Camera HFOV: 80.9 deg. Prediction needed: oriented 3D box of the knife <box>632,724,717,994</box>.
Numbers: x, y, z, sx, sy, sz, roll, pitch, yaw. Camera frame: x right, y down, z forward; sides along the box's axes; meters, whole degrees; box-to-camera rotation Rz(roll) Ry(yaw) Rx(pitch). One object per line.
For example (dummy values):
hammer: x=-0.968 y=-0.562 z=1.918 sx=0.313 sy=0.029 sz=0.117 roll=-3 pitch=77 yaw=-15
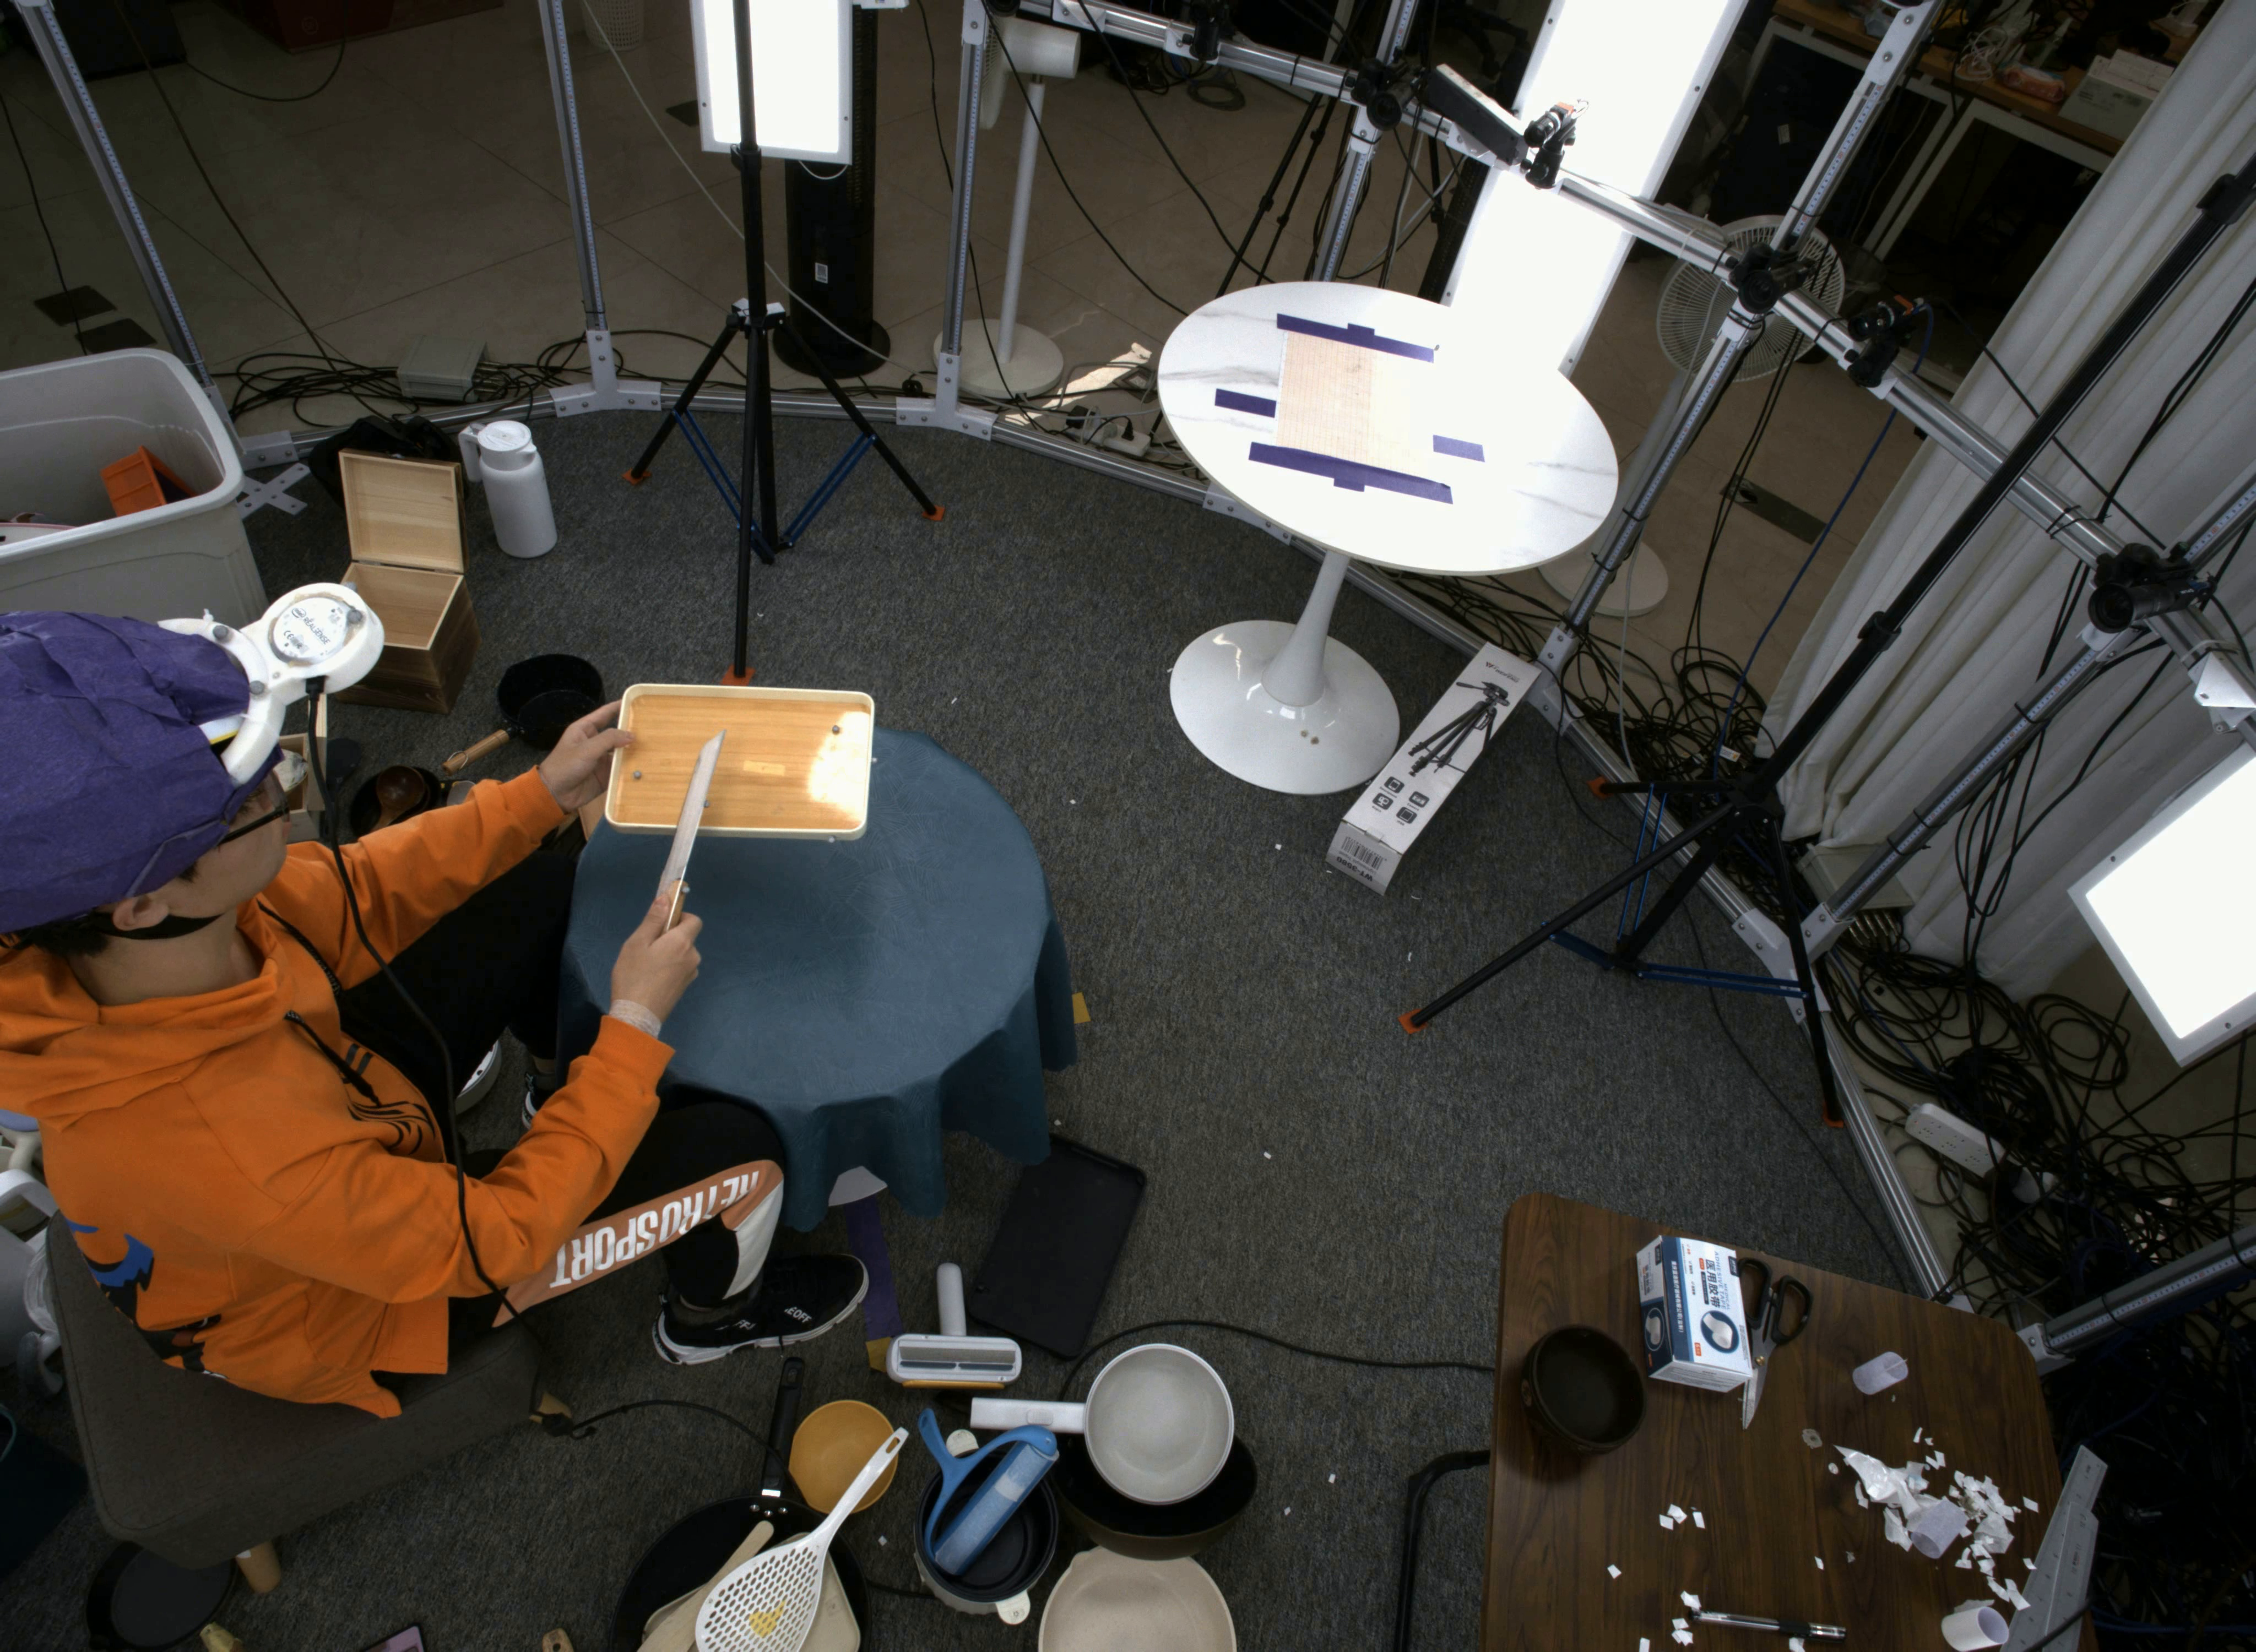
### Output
knife: x=-0.496 y=0.035 z=1.397 sx=0.021 sy=0.091 sz=0.304 roll=21 pitch=67 yaw=-30

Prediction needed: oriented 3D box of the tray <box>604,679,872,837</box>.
tray: x=-0.455 y=-0.082 z=1.514 sx=0.299 sy=0.028 sz=0.189 roll=2 pitch=66 yaw=-9
